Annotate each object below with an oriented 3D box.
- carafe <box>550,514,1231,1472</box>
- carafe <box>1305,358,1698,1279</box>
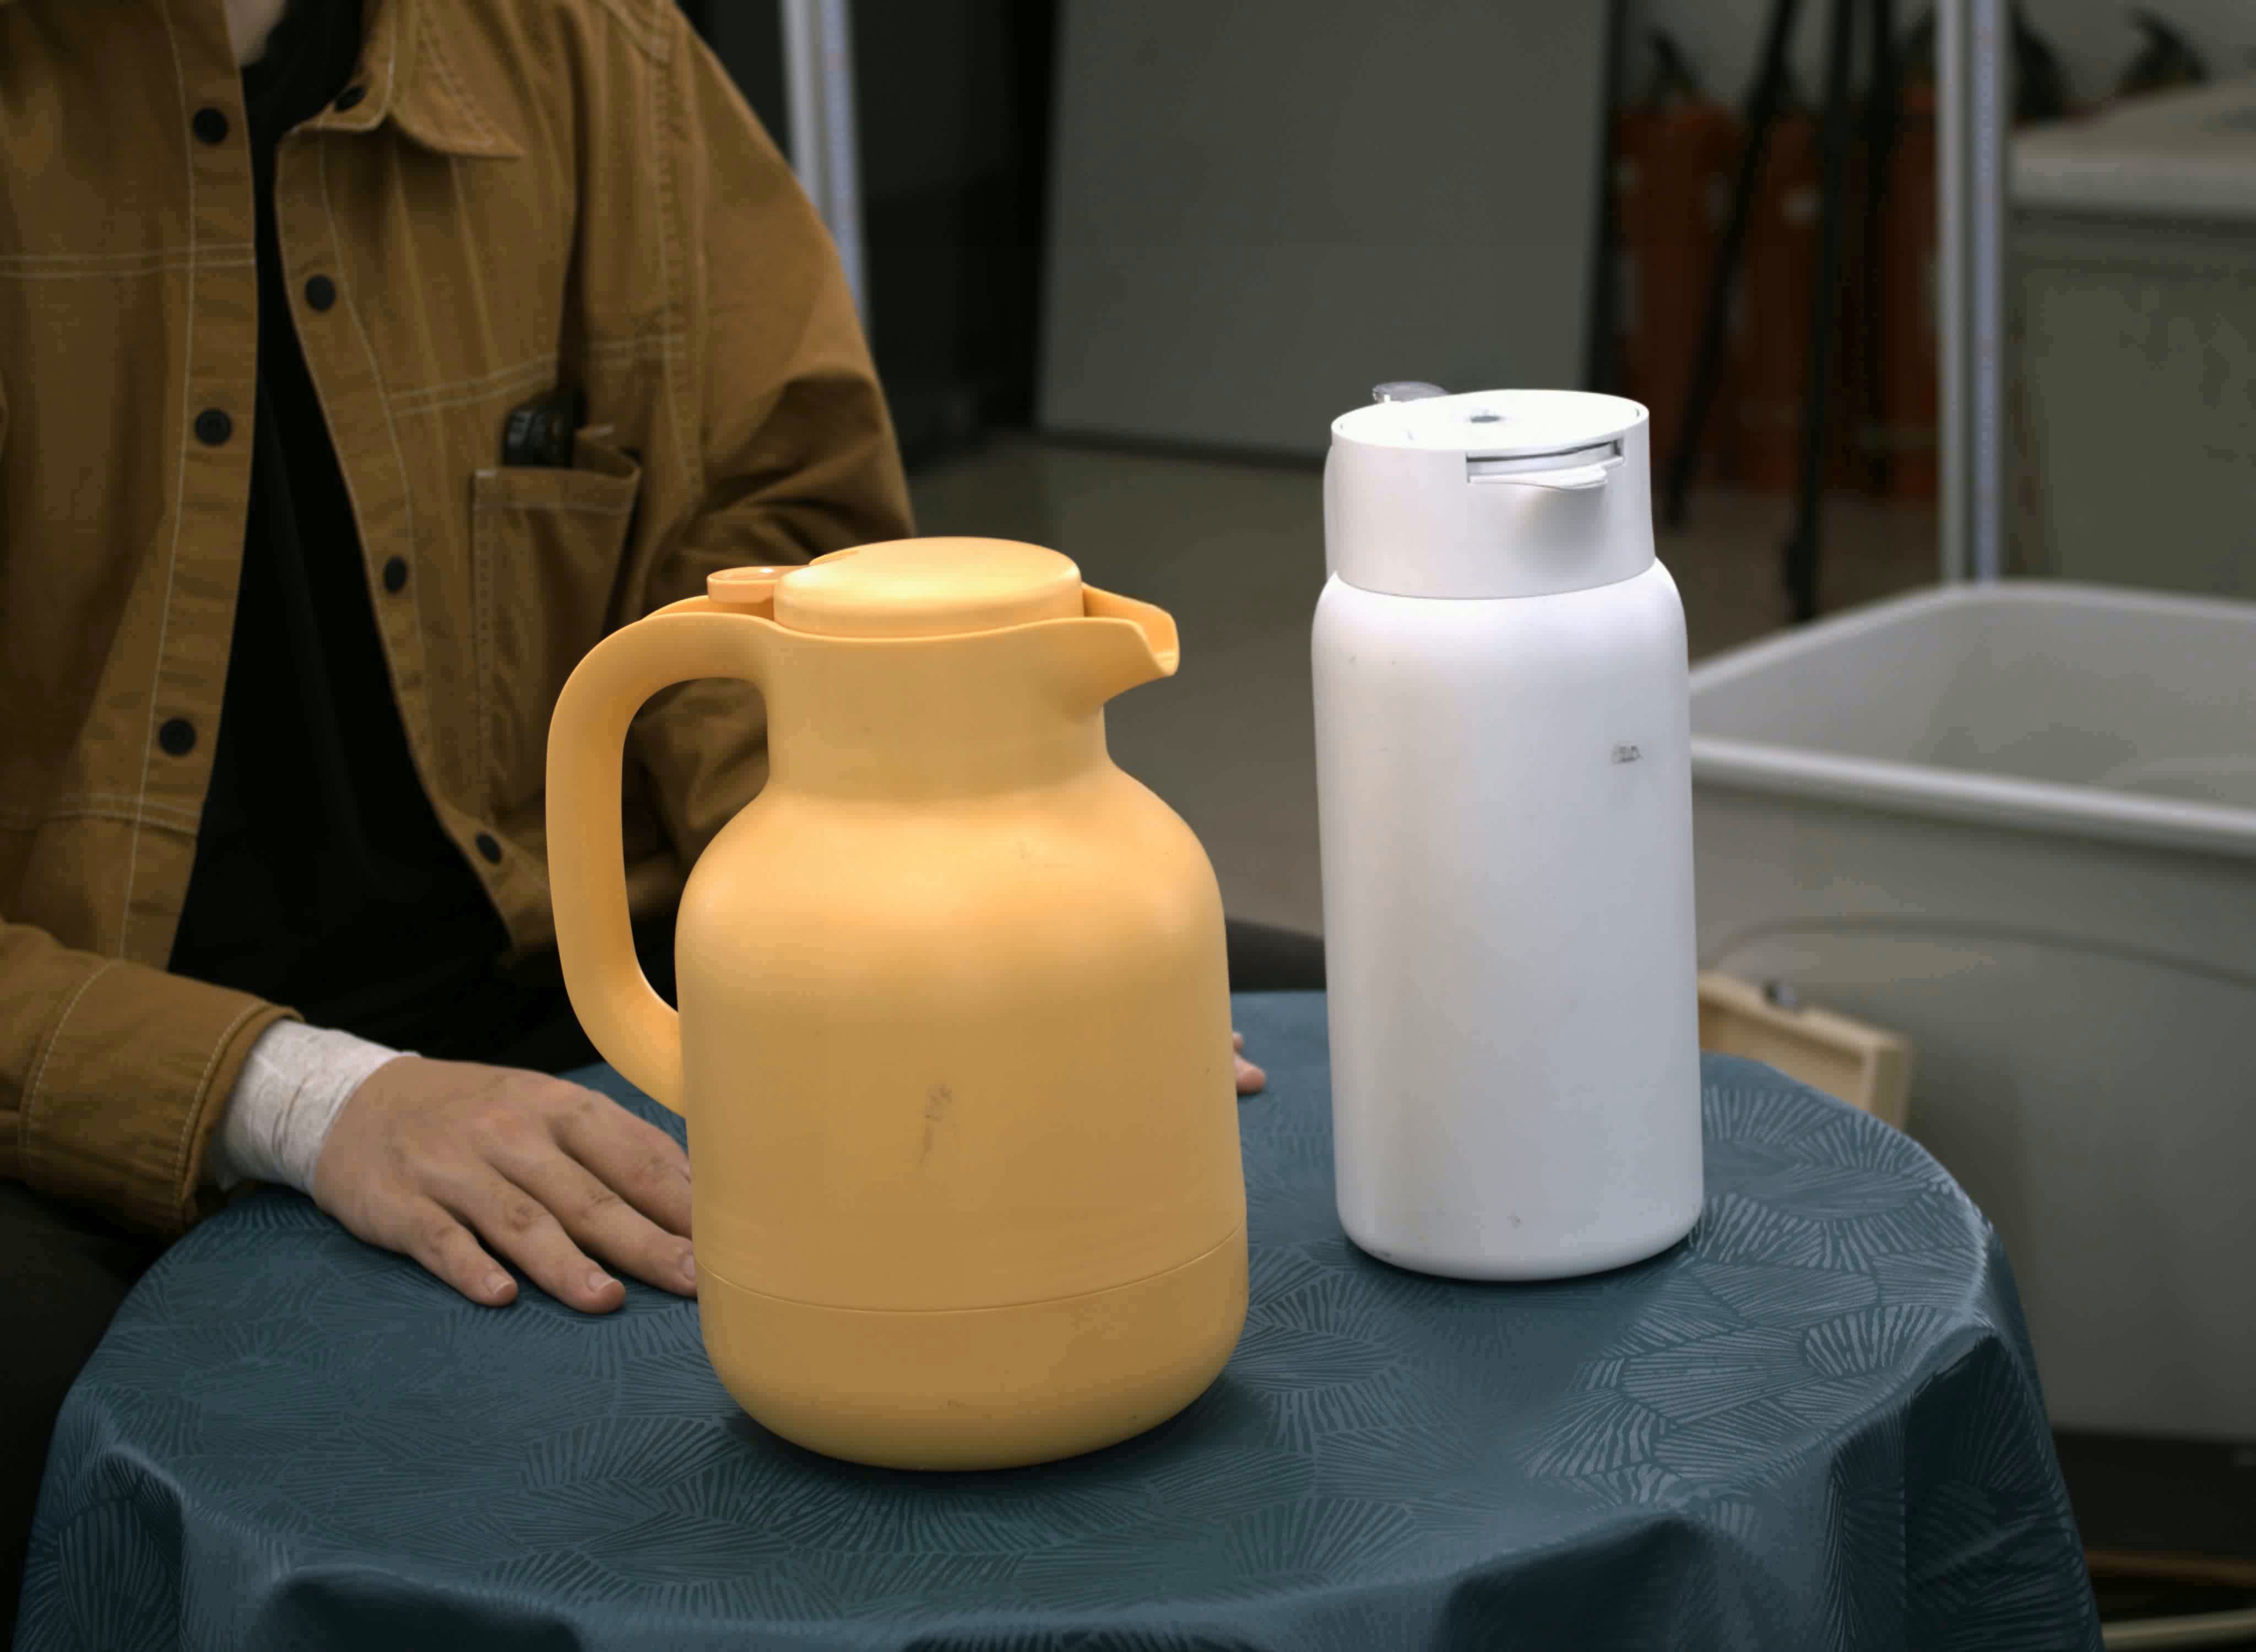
[{"bbox_3d":[-0.070,0.043,1.563,0.202,0.263,0.161,3,12,23],"label":"carafe"},{"bbox_3d":[0.108,-0.005,1.691,0.121,0.272,0.174,-11,15,-19],"label":"carafe"}]
